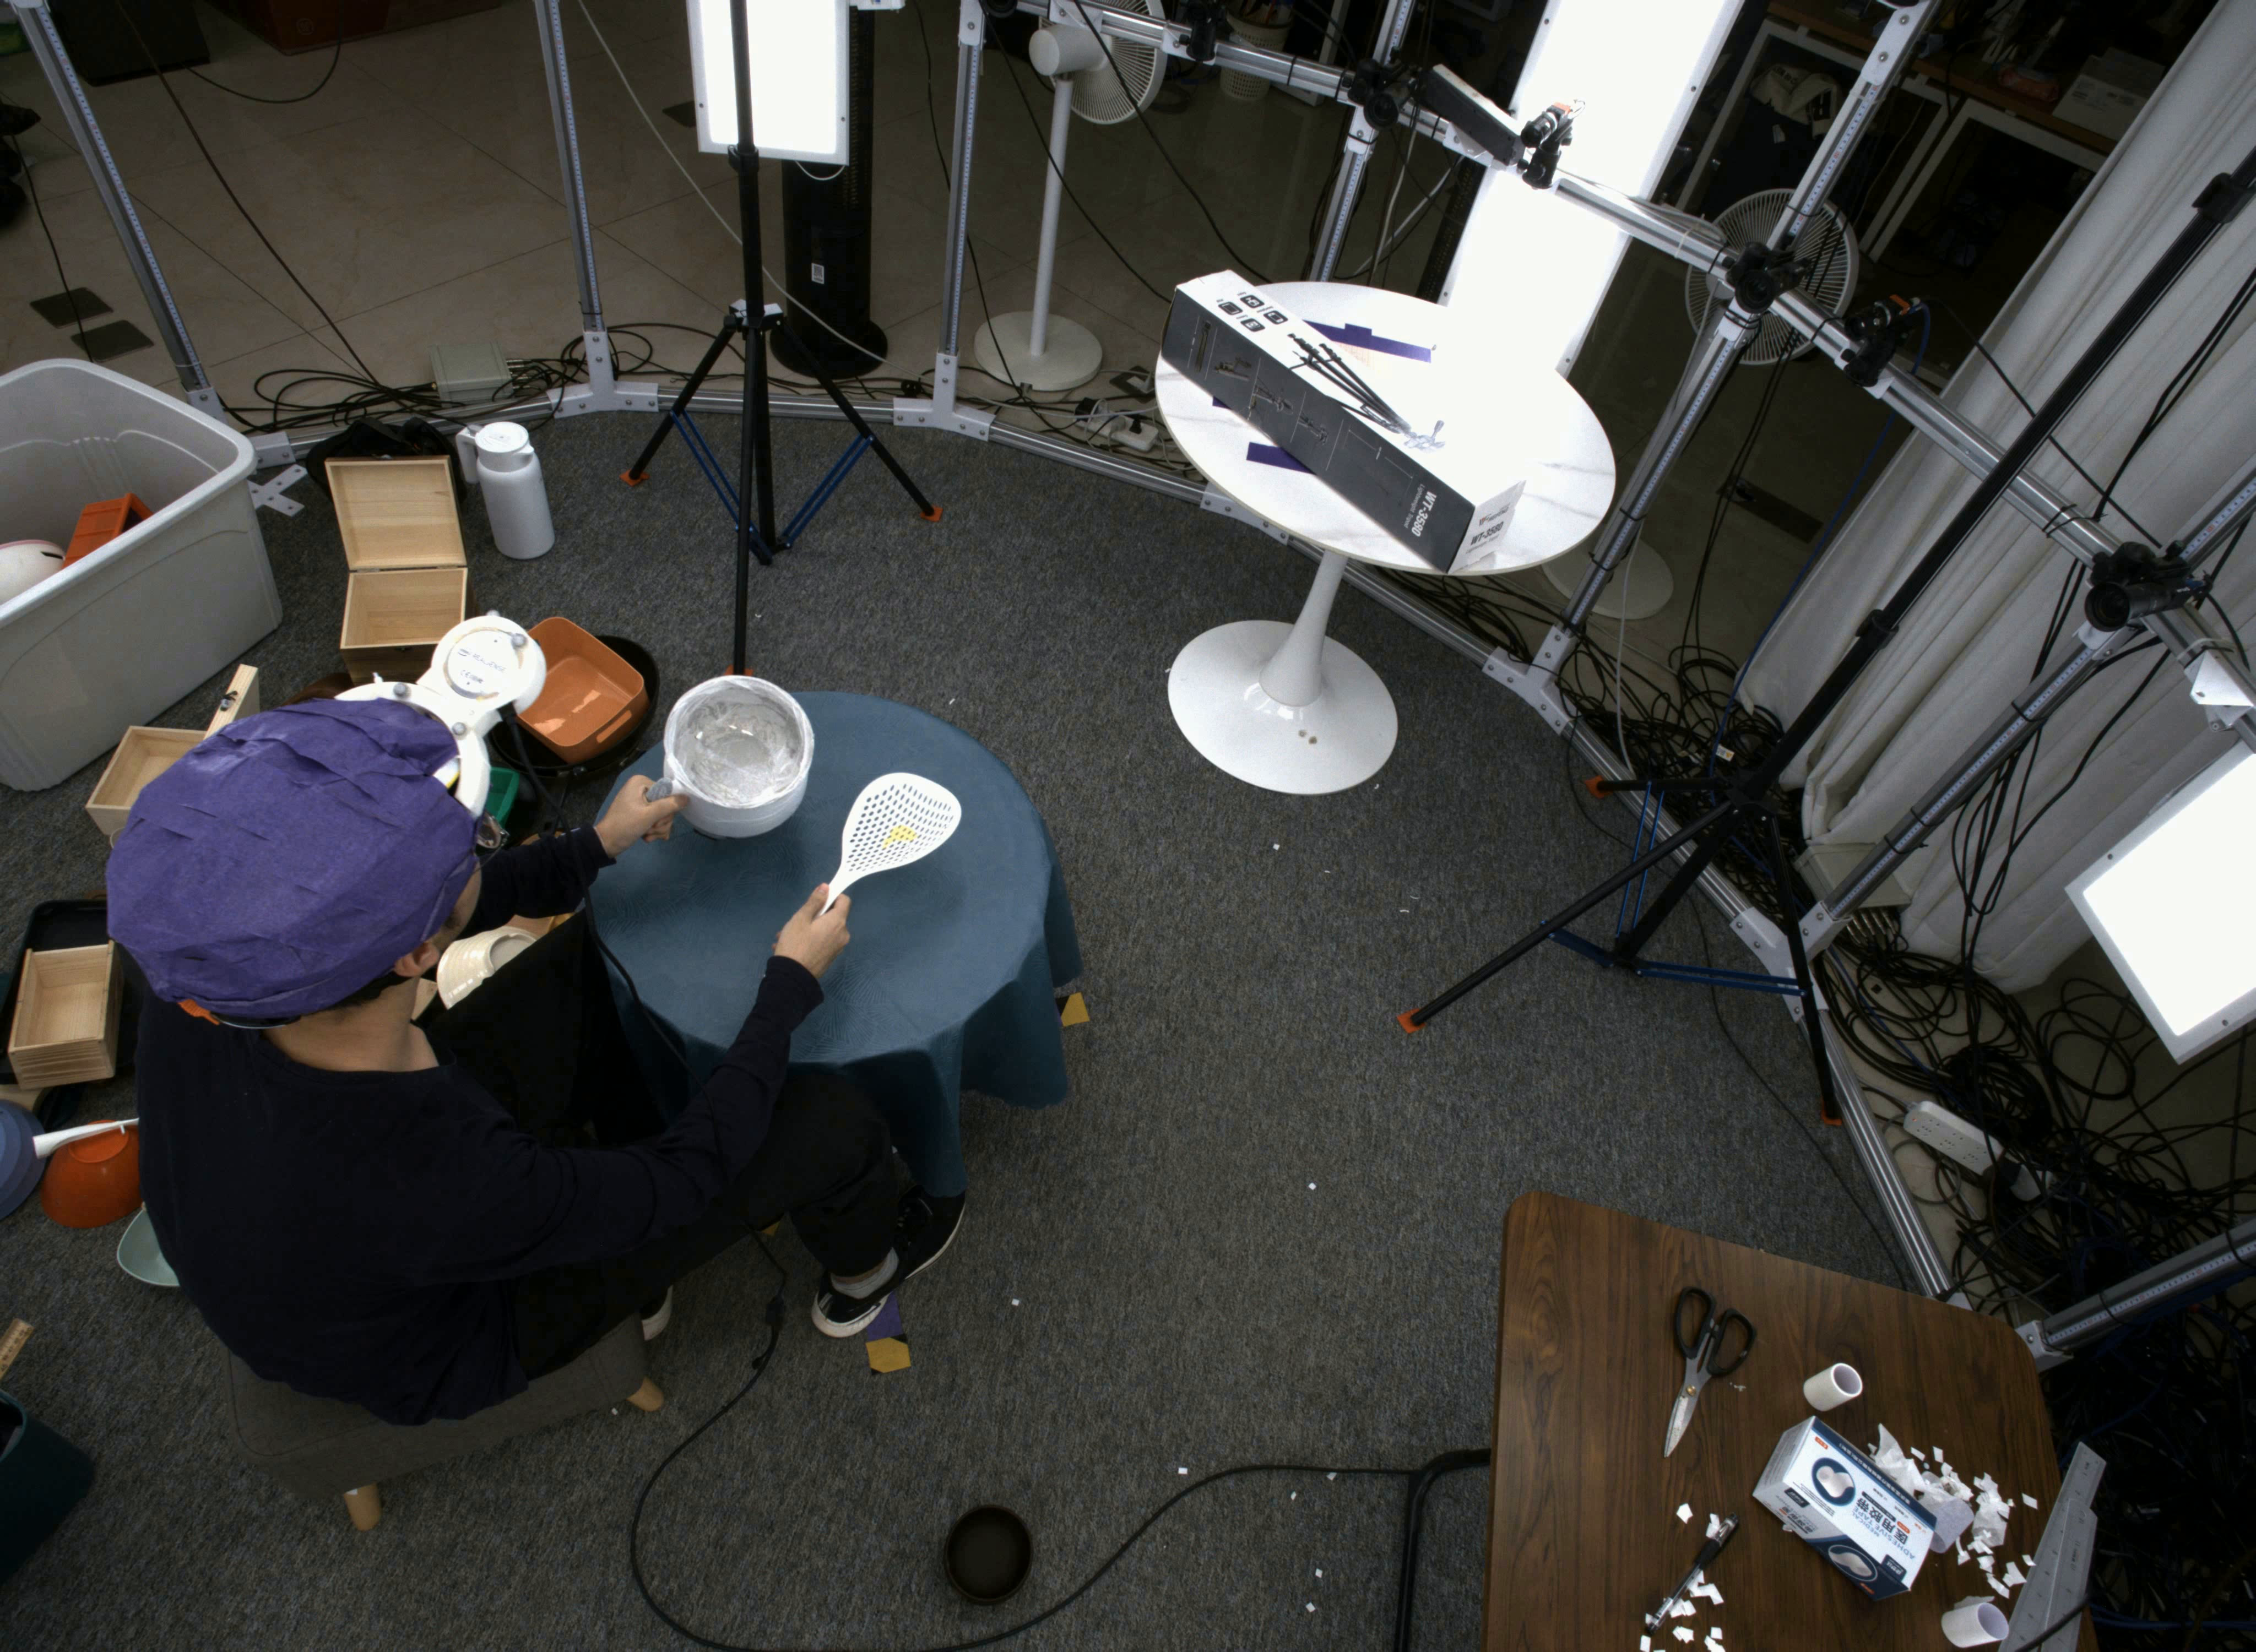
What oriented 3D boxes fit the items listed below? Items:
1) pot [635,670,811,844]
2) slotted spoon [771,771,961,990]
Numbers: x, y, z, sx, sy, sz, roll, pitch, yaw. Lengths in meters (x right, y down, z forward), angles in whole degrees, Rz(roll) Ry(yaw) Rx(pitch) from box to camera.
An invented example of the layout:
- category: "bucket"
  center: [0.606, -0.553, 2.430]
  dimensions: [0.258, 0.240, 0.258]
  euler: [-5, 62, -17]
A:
- category: "pot"
  center: [-0.507, -0.068, 1.597]
  dimensions: [0.234, 0.137, 0.178]
  euler: [-39, 83, -28]
- category: "slotted spoon"
  center: [-0.335, 0.061, 1.599]
  dimensions: [0.134, 0.051, 0.346]
  euler: [26, 49, 13]
